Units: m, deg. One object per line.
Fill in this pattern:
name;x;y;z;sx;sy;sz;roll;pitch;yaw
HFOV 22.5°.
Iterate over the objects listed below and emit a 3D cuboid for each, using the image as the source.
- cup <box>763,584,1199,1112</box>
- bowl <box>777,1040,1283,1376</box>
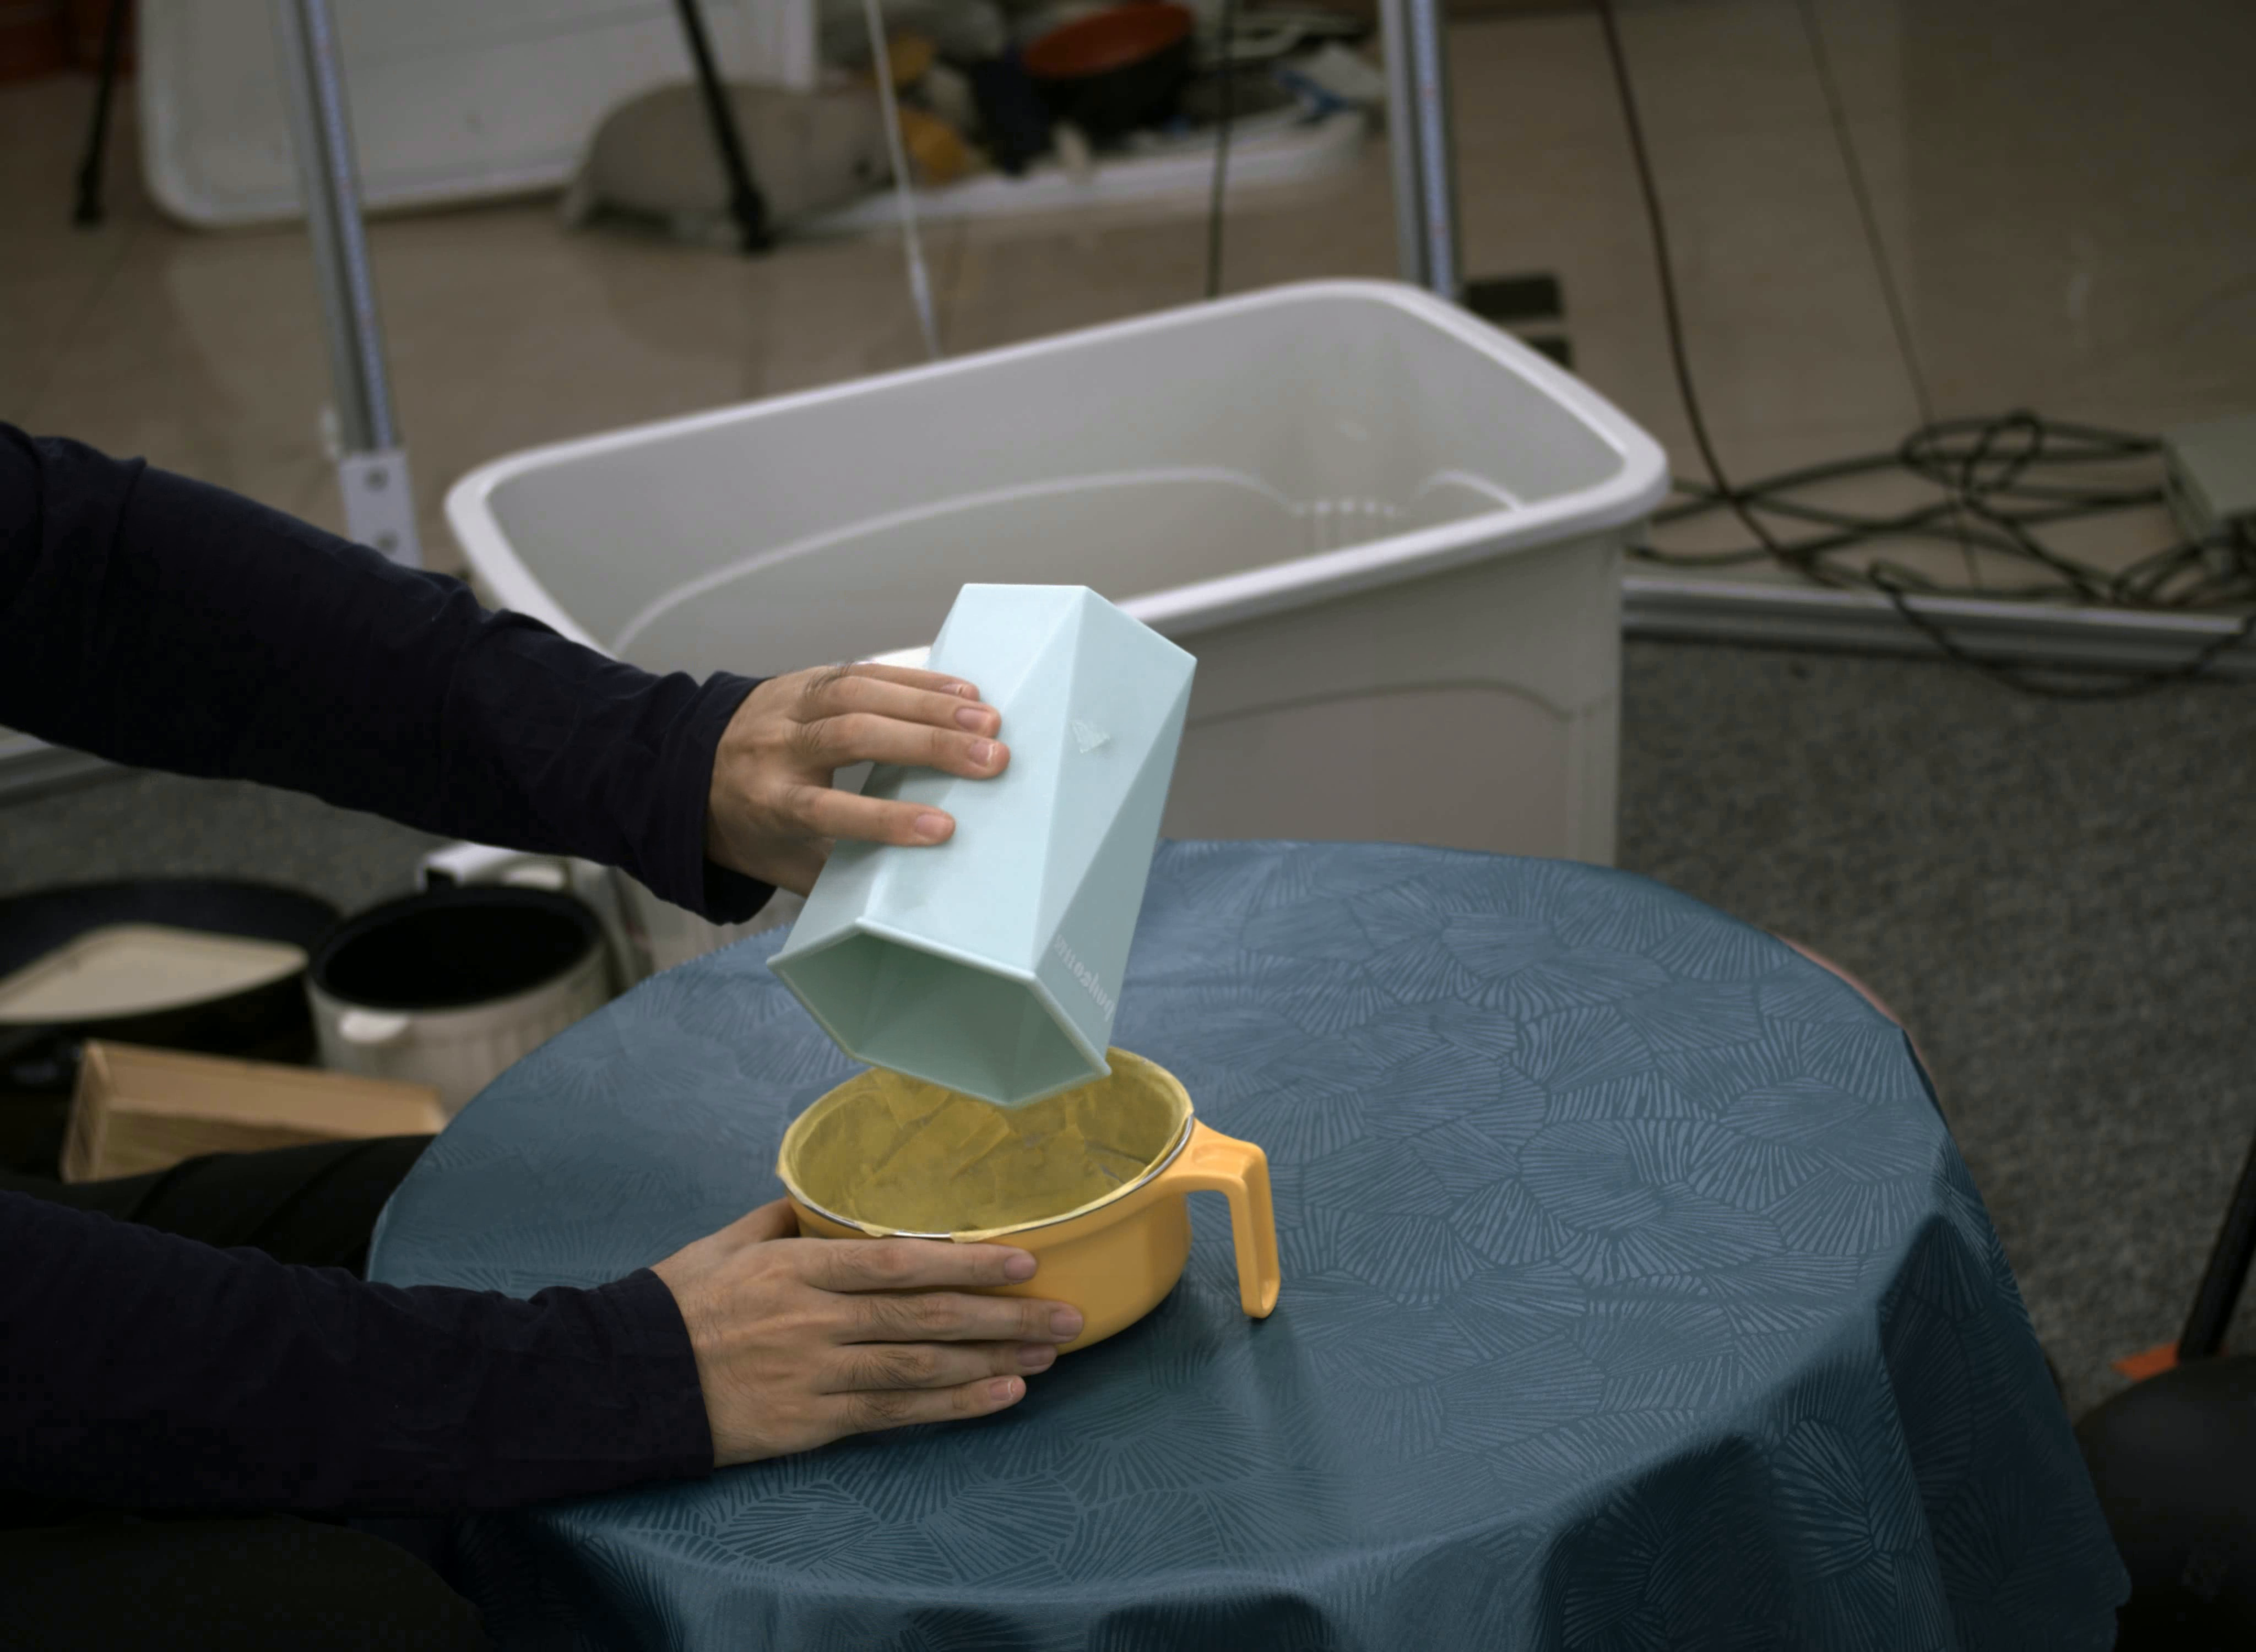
cup;-0.044;0.002;2.071;0.115;0.133;0.161;3;58;33
bowl;-0.035;0.143;2.069;0.179;0.075;0.151;-1;25;17
